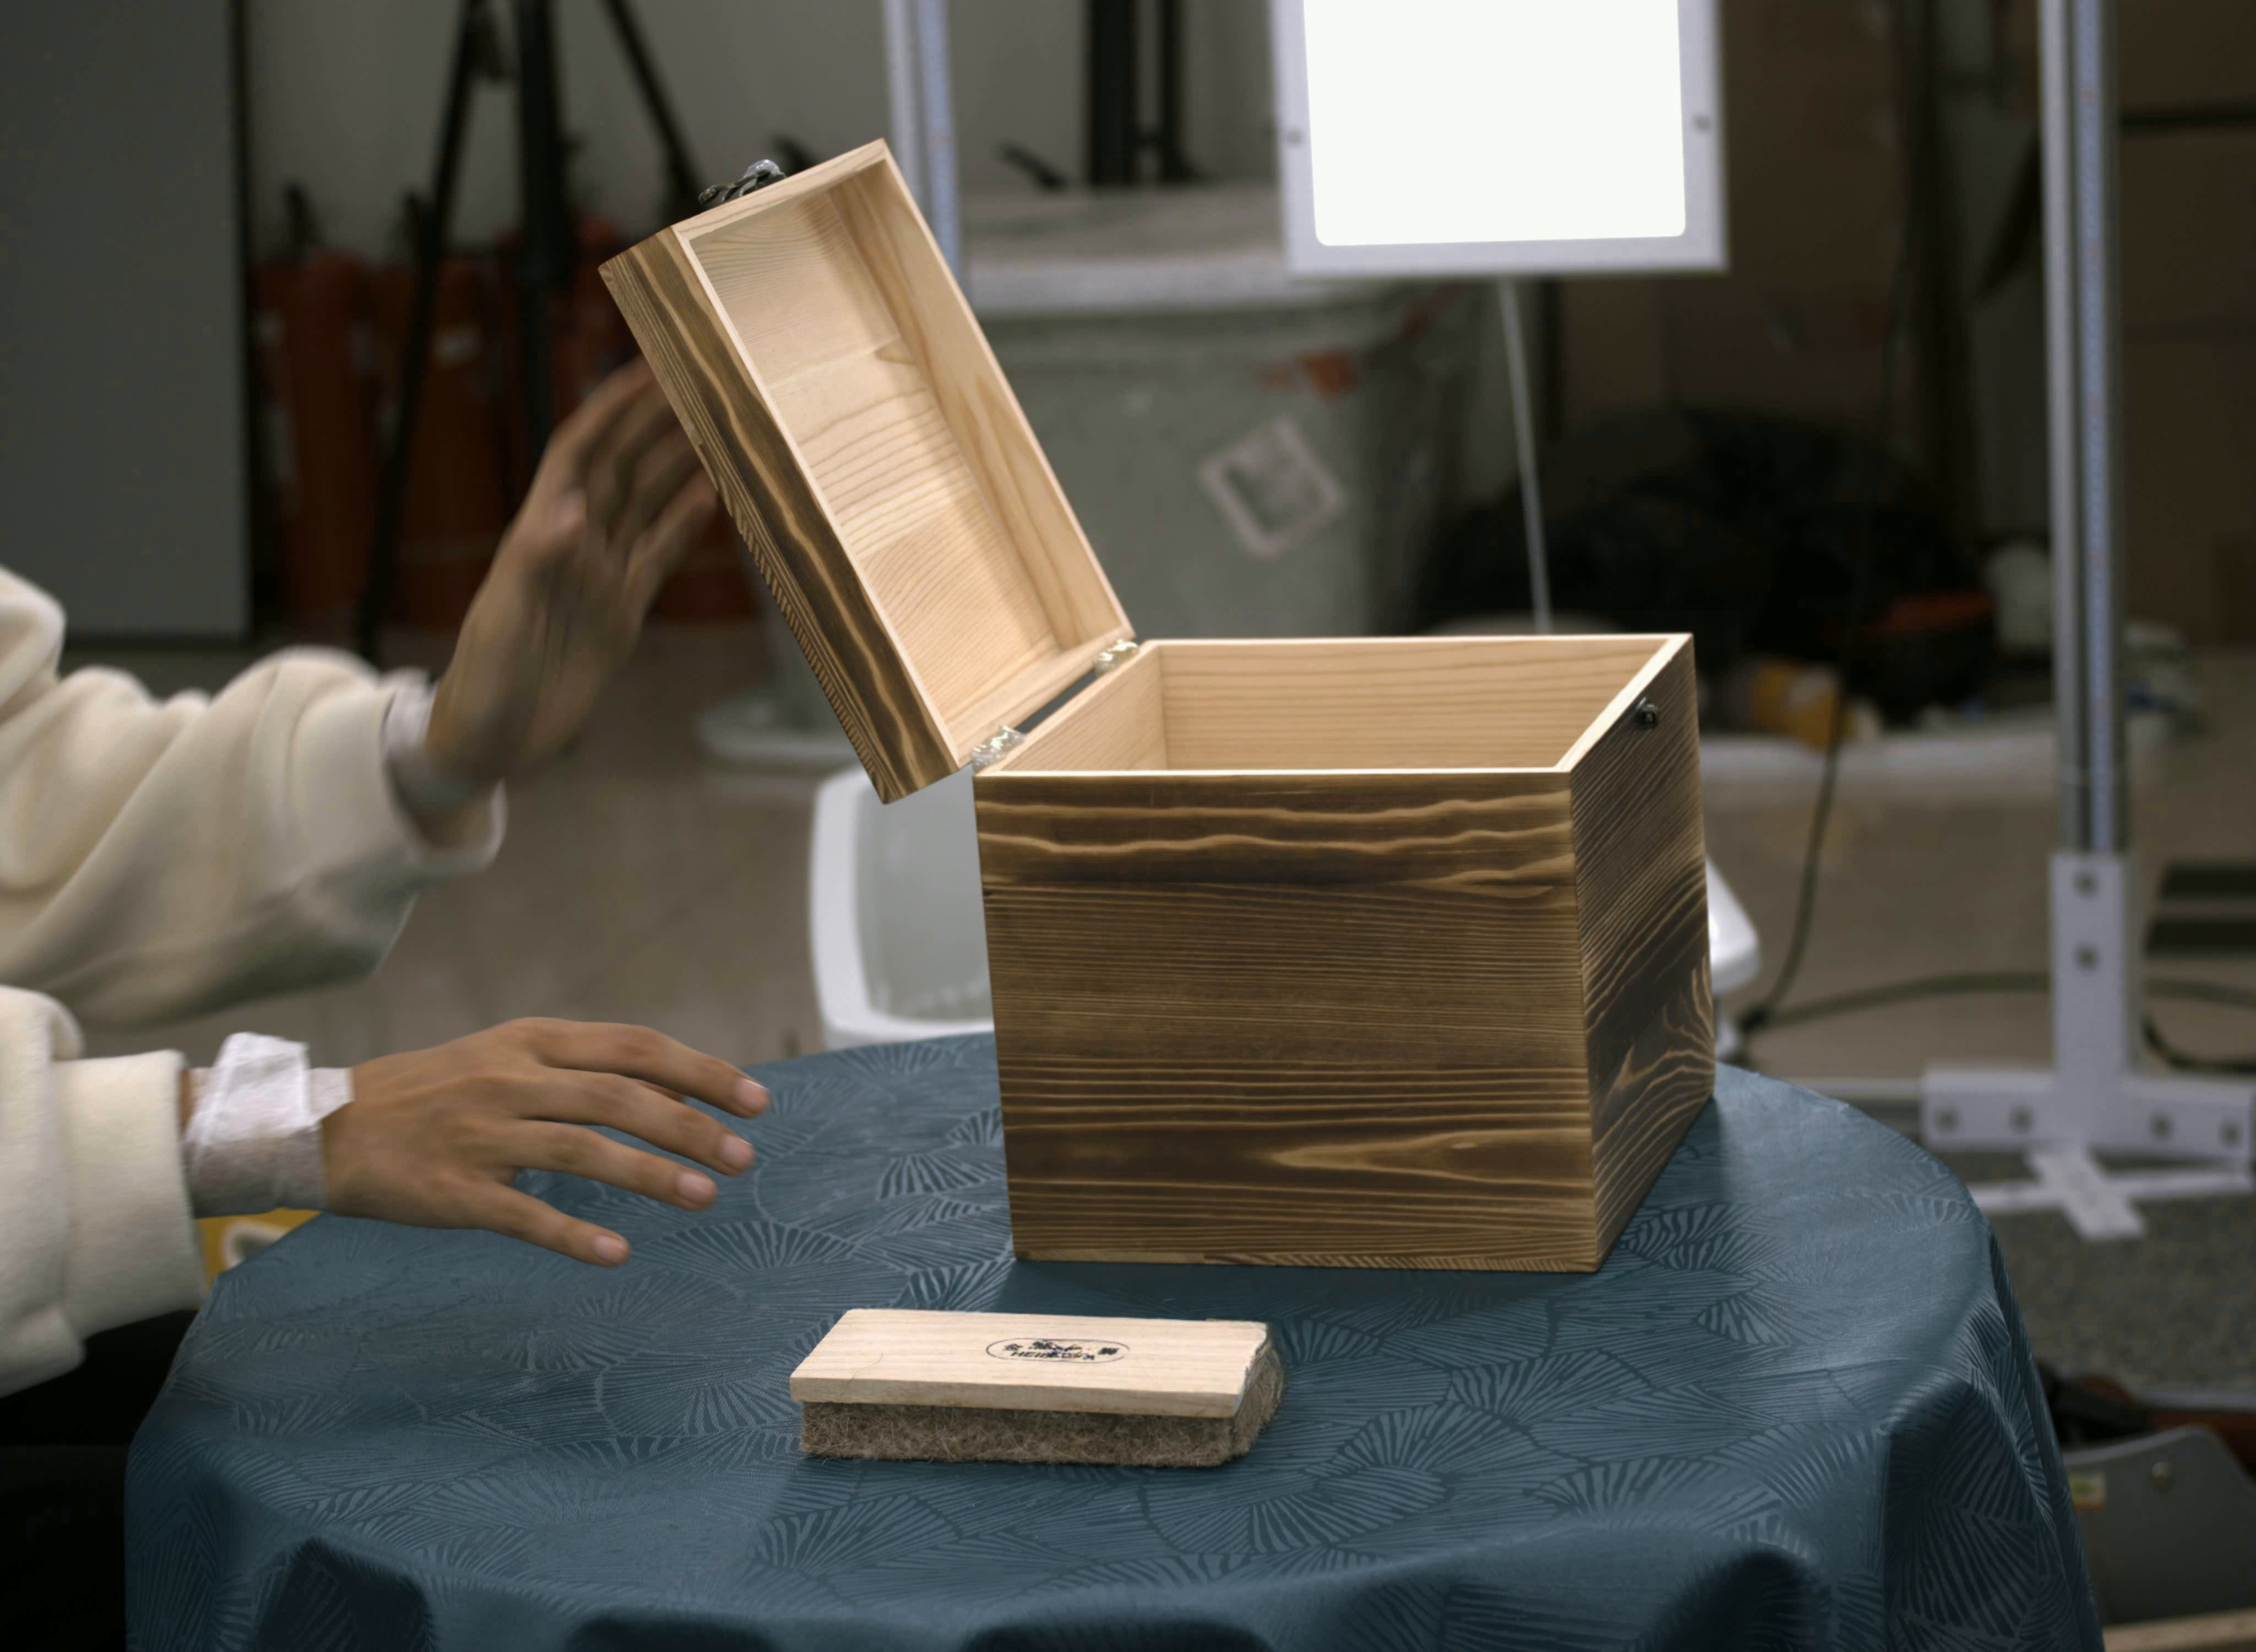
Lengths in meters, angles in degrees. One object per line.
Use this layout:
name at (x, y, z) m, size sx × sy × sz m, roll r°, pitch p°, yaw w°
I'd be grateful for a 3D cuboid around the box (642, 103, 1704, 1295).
box at (0.023, -0.055, 1.863) m, size 0.326 × 0.377 × 0.205 m, roll 0°, pitch 15°, yaw 18°

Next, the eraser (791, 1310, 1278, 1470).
eraser at (-0.027, 0.171, 1.667) m, size 0.141 × 0.029 × 0.056 m, roll -1°, pitch 18°, yaw 21°
